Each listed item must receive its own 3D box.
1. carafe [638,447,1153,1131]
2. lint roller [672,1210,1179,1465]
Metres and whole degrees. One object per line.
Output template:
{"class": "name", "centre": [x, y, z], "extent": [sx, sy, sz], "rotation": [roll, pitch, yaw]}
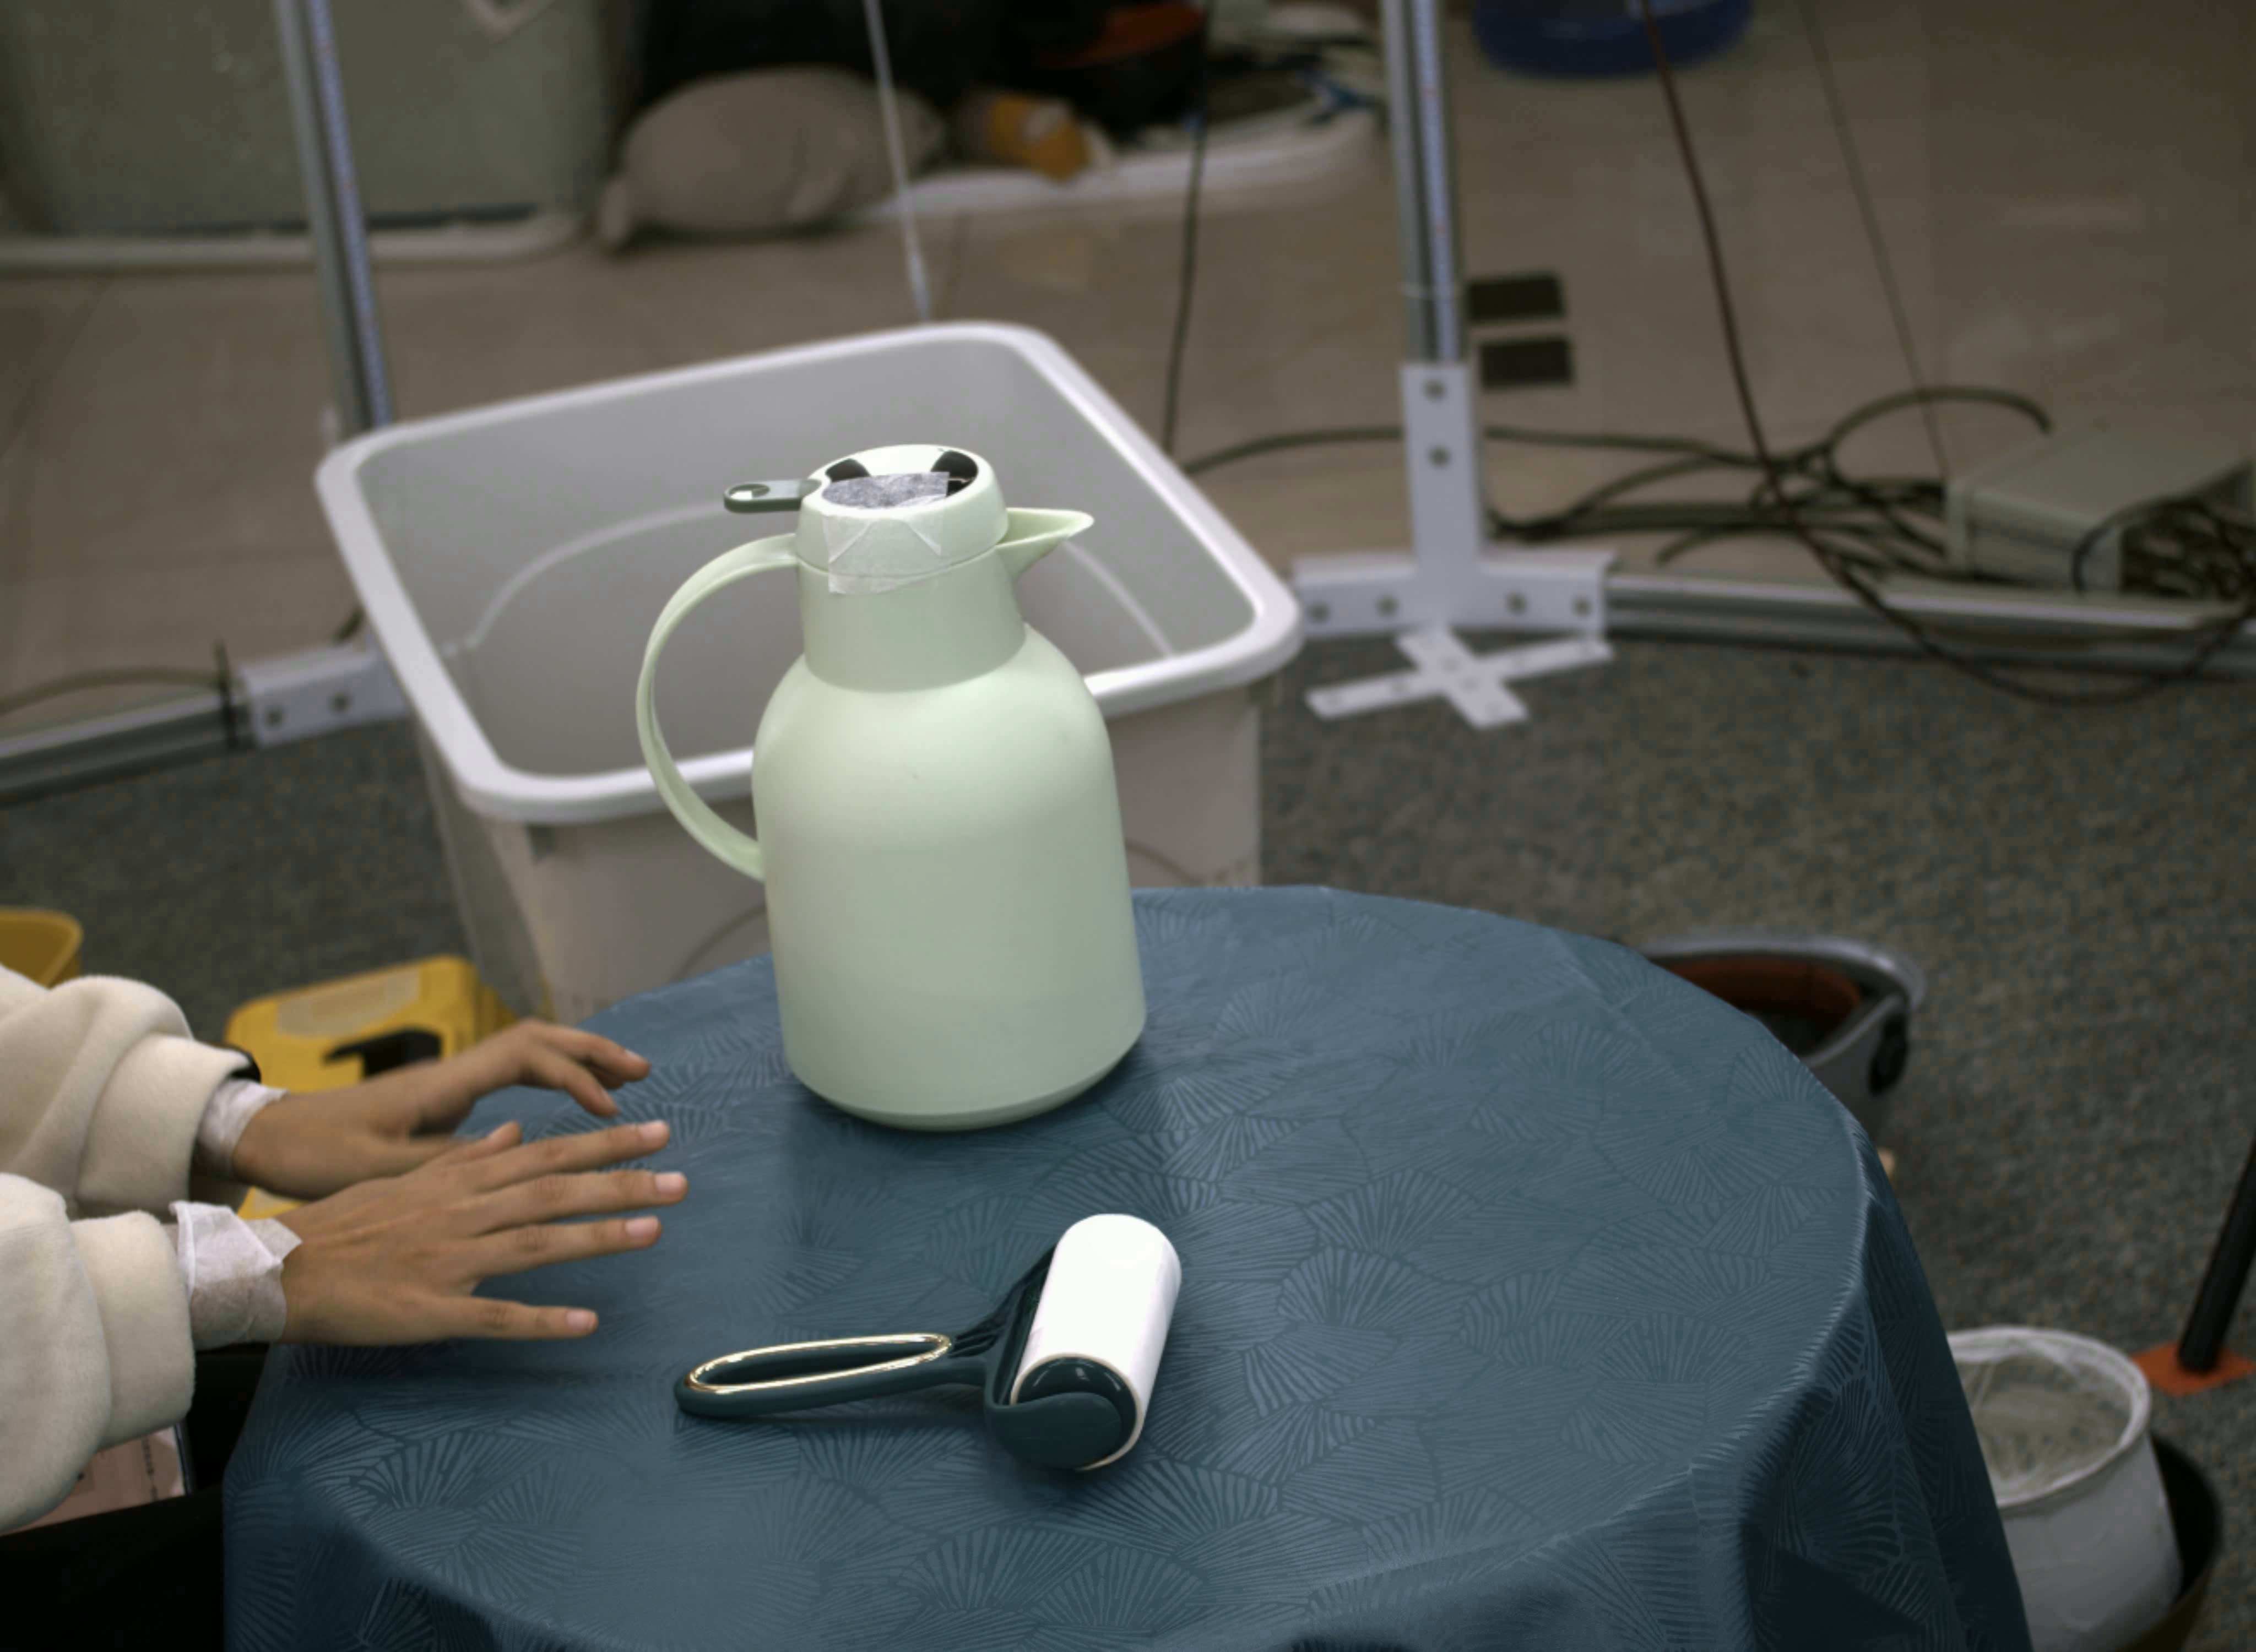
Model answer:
{"class": "carafe", "centre": [-0.090, -0.018, 2.207], "extent": [0.186, 0.261, 0.142], "rotation": [-8, 27, 5]}
{"class": "lint roller", "centre": [-0.077, 0.183, 2.015], "extent": [0.180, 0.049, 0.132], "rotation": [-2, 24, 10]}
